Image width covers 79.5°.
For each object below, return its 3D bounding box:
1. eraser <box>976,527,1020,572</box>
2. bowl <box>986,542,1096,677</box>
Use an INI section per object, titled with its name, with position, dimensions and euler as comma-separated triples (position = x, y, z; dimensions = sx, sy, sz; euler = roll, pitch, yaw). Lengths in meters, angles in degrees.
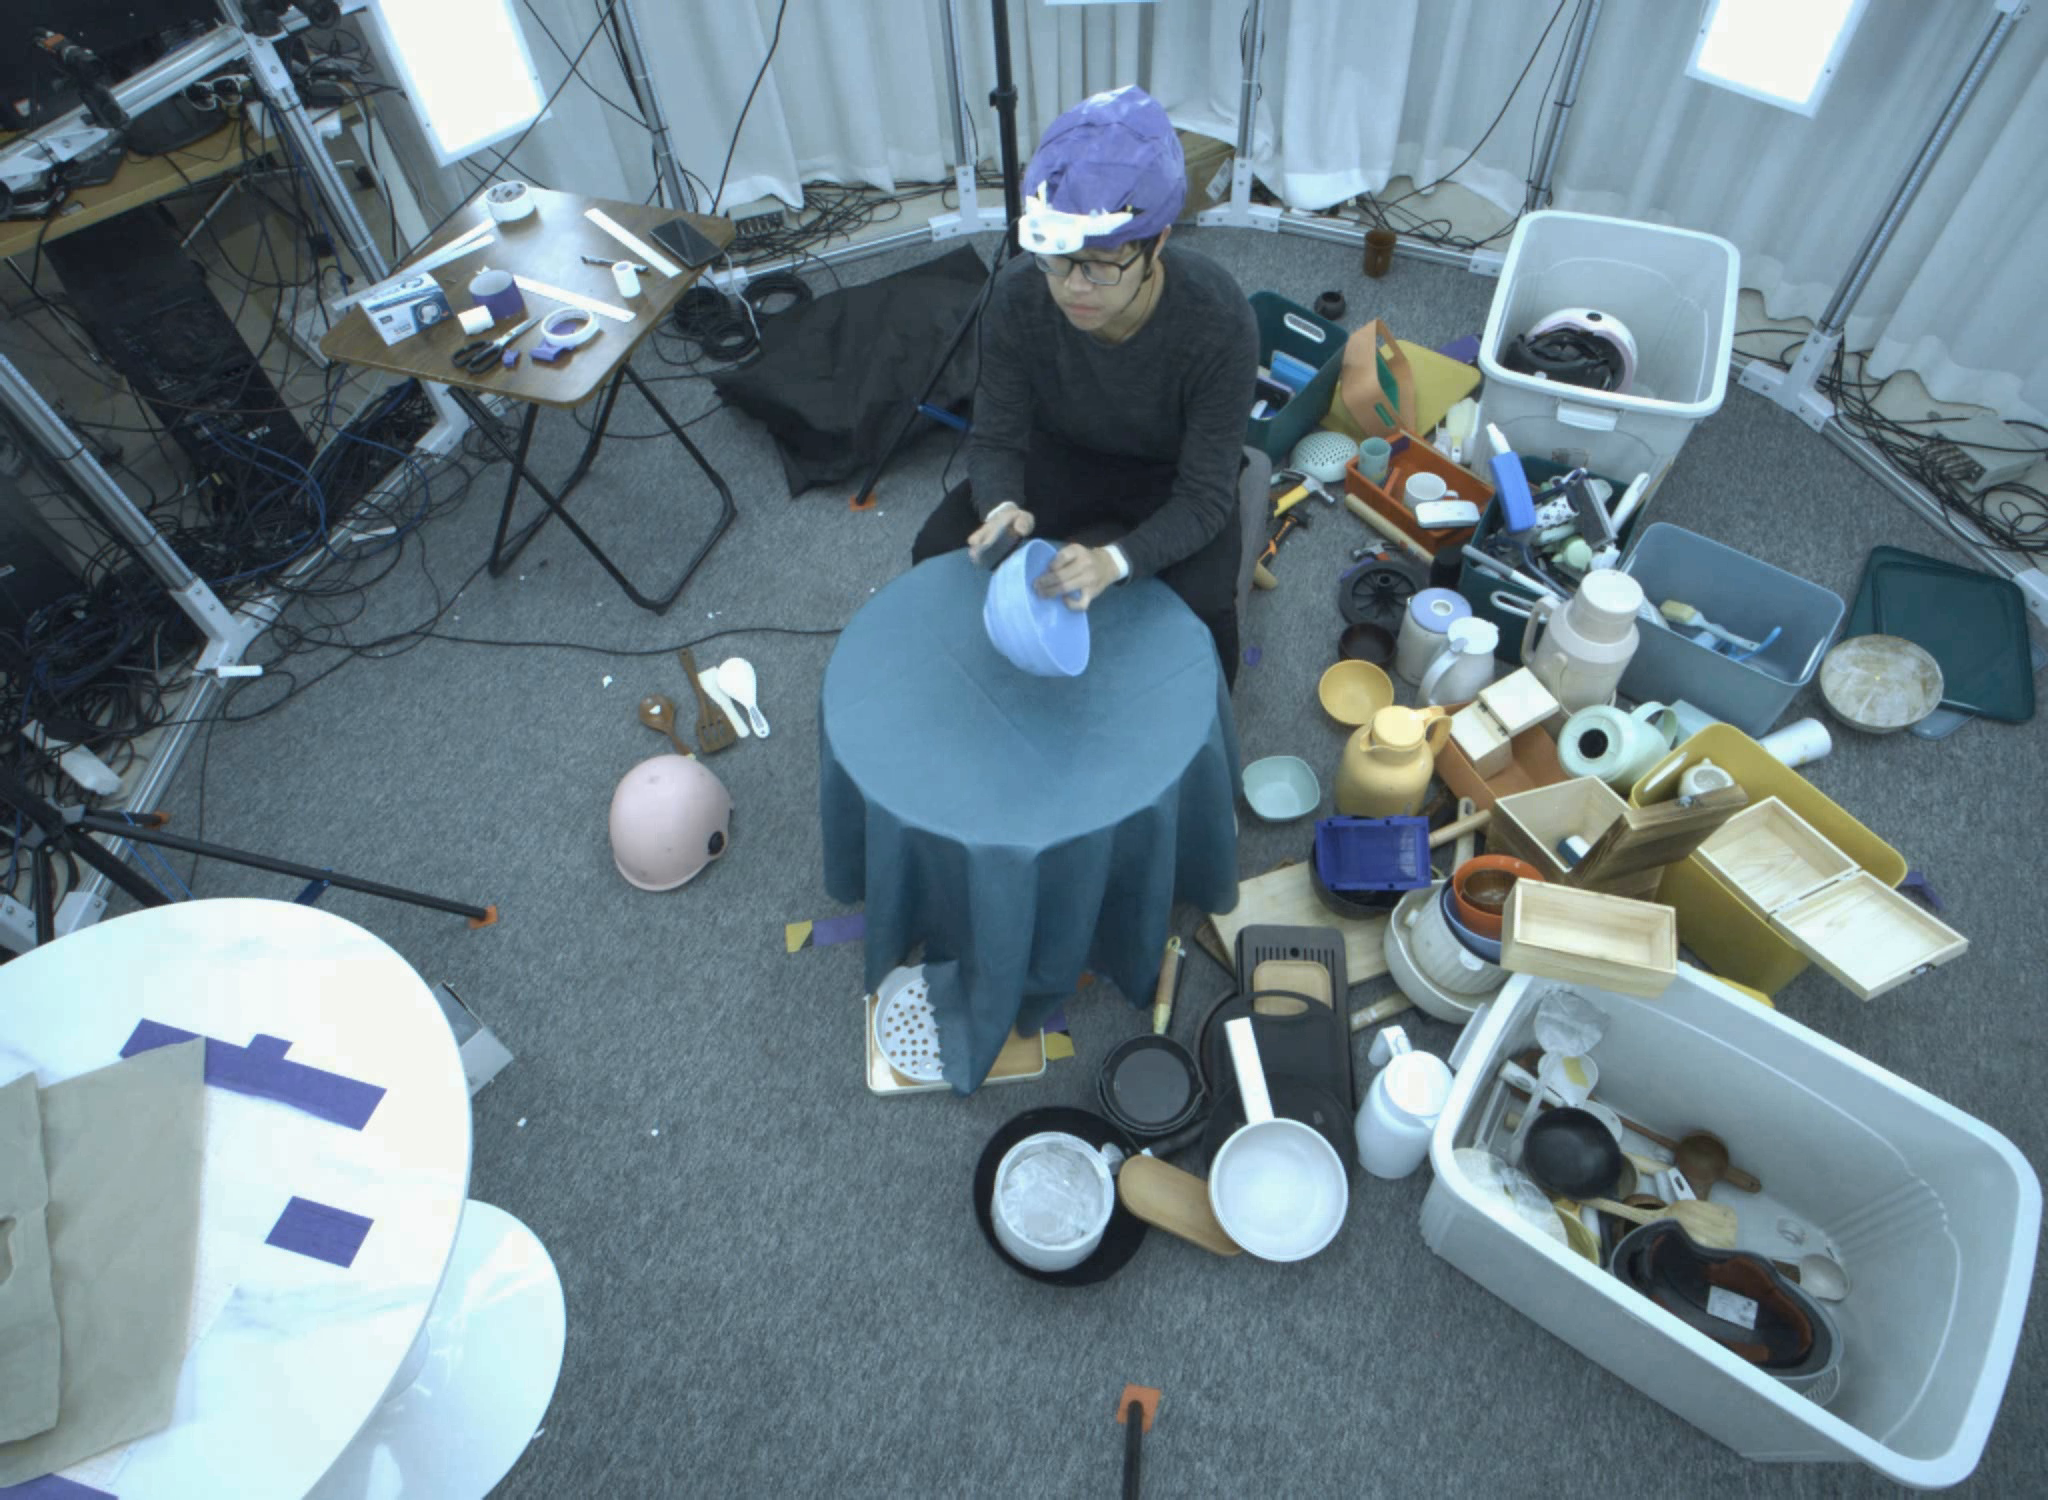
[eraser]
position = -0.036, -0.286, 1.739
dimensions = 0.053, 0.125, 0.031
euler = -40, 100, 13
[bowl]
position = 0.010, -0.184, 1.729
dimensions = 0.094, 0.201, 0.194
euler = -21, 50, 28
